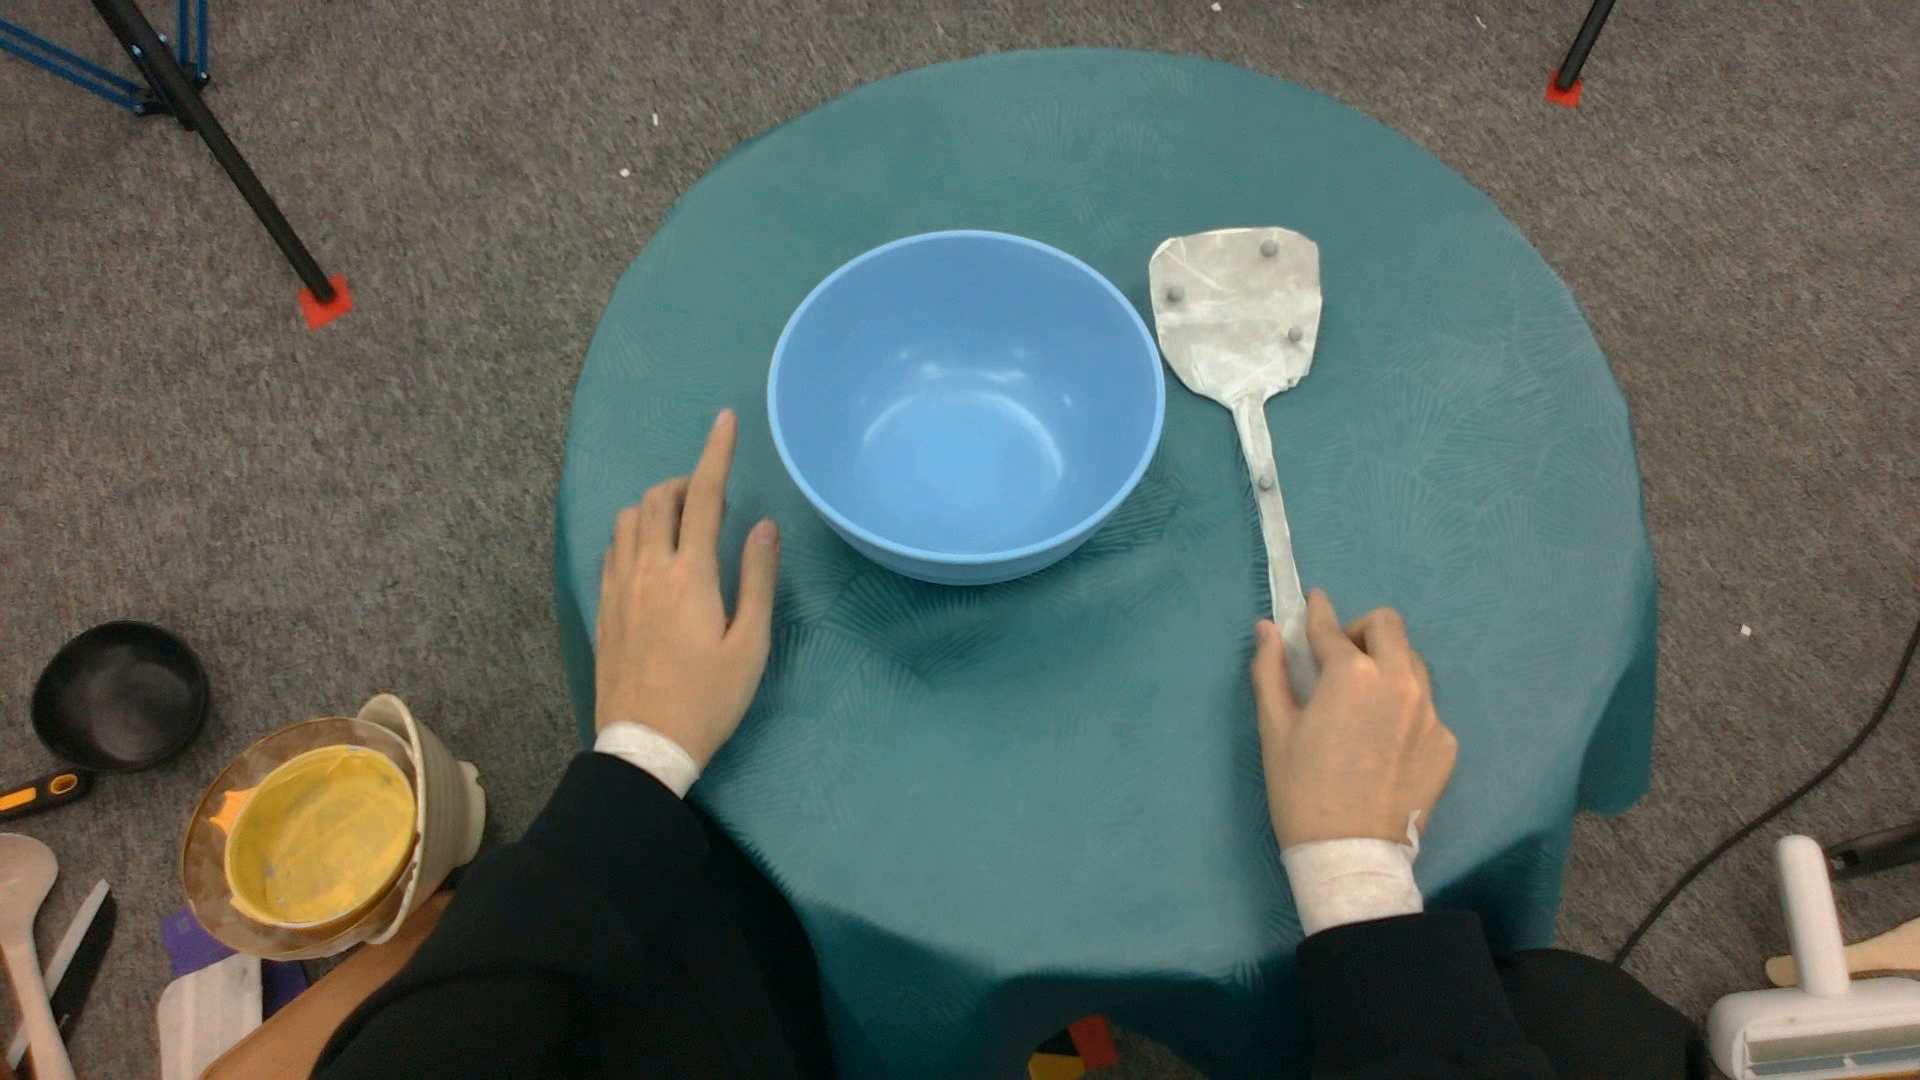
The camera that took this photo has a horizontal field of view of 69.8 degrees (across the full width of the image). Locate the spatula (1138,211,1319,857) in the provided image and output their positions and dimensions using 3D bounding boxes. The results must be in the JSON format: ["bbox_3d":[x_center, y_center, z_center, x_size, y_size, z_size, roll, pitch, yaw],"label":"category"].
[{"bbox_3d":[0.157,-0.019,0.728,0.099,0.044,0.366,-2,62,-2],"label":"spatula"}]

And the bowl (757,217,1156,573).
[{"bbox_3d":[-0.003,-0.061,0.716,0.196,0.095,0.197,1,62,-2],"label":"bowl"}]
